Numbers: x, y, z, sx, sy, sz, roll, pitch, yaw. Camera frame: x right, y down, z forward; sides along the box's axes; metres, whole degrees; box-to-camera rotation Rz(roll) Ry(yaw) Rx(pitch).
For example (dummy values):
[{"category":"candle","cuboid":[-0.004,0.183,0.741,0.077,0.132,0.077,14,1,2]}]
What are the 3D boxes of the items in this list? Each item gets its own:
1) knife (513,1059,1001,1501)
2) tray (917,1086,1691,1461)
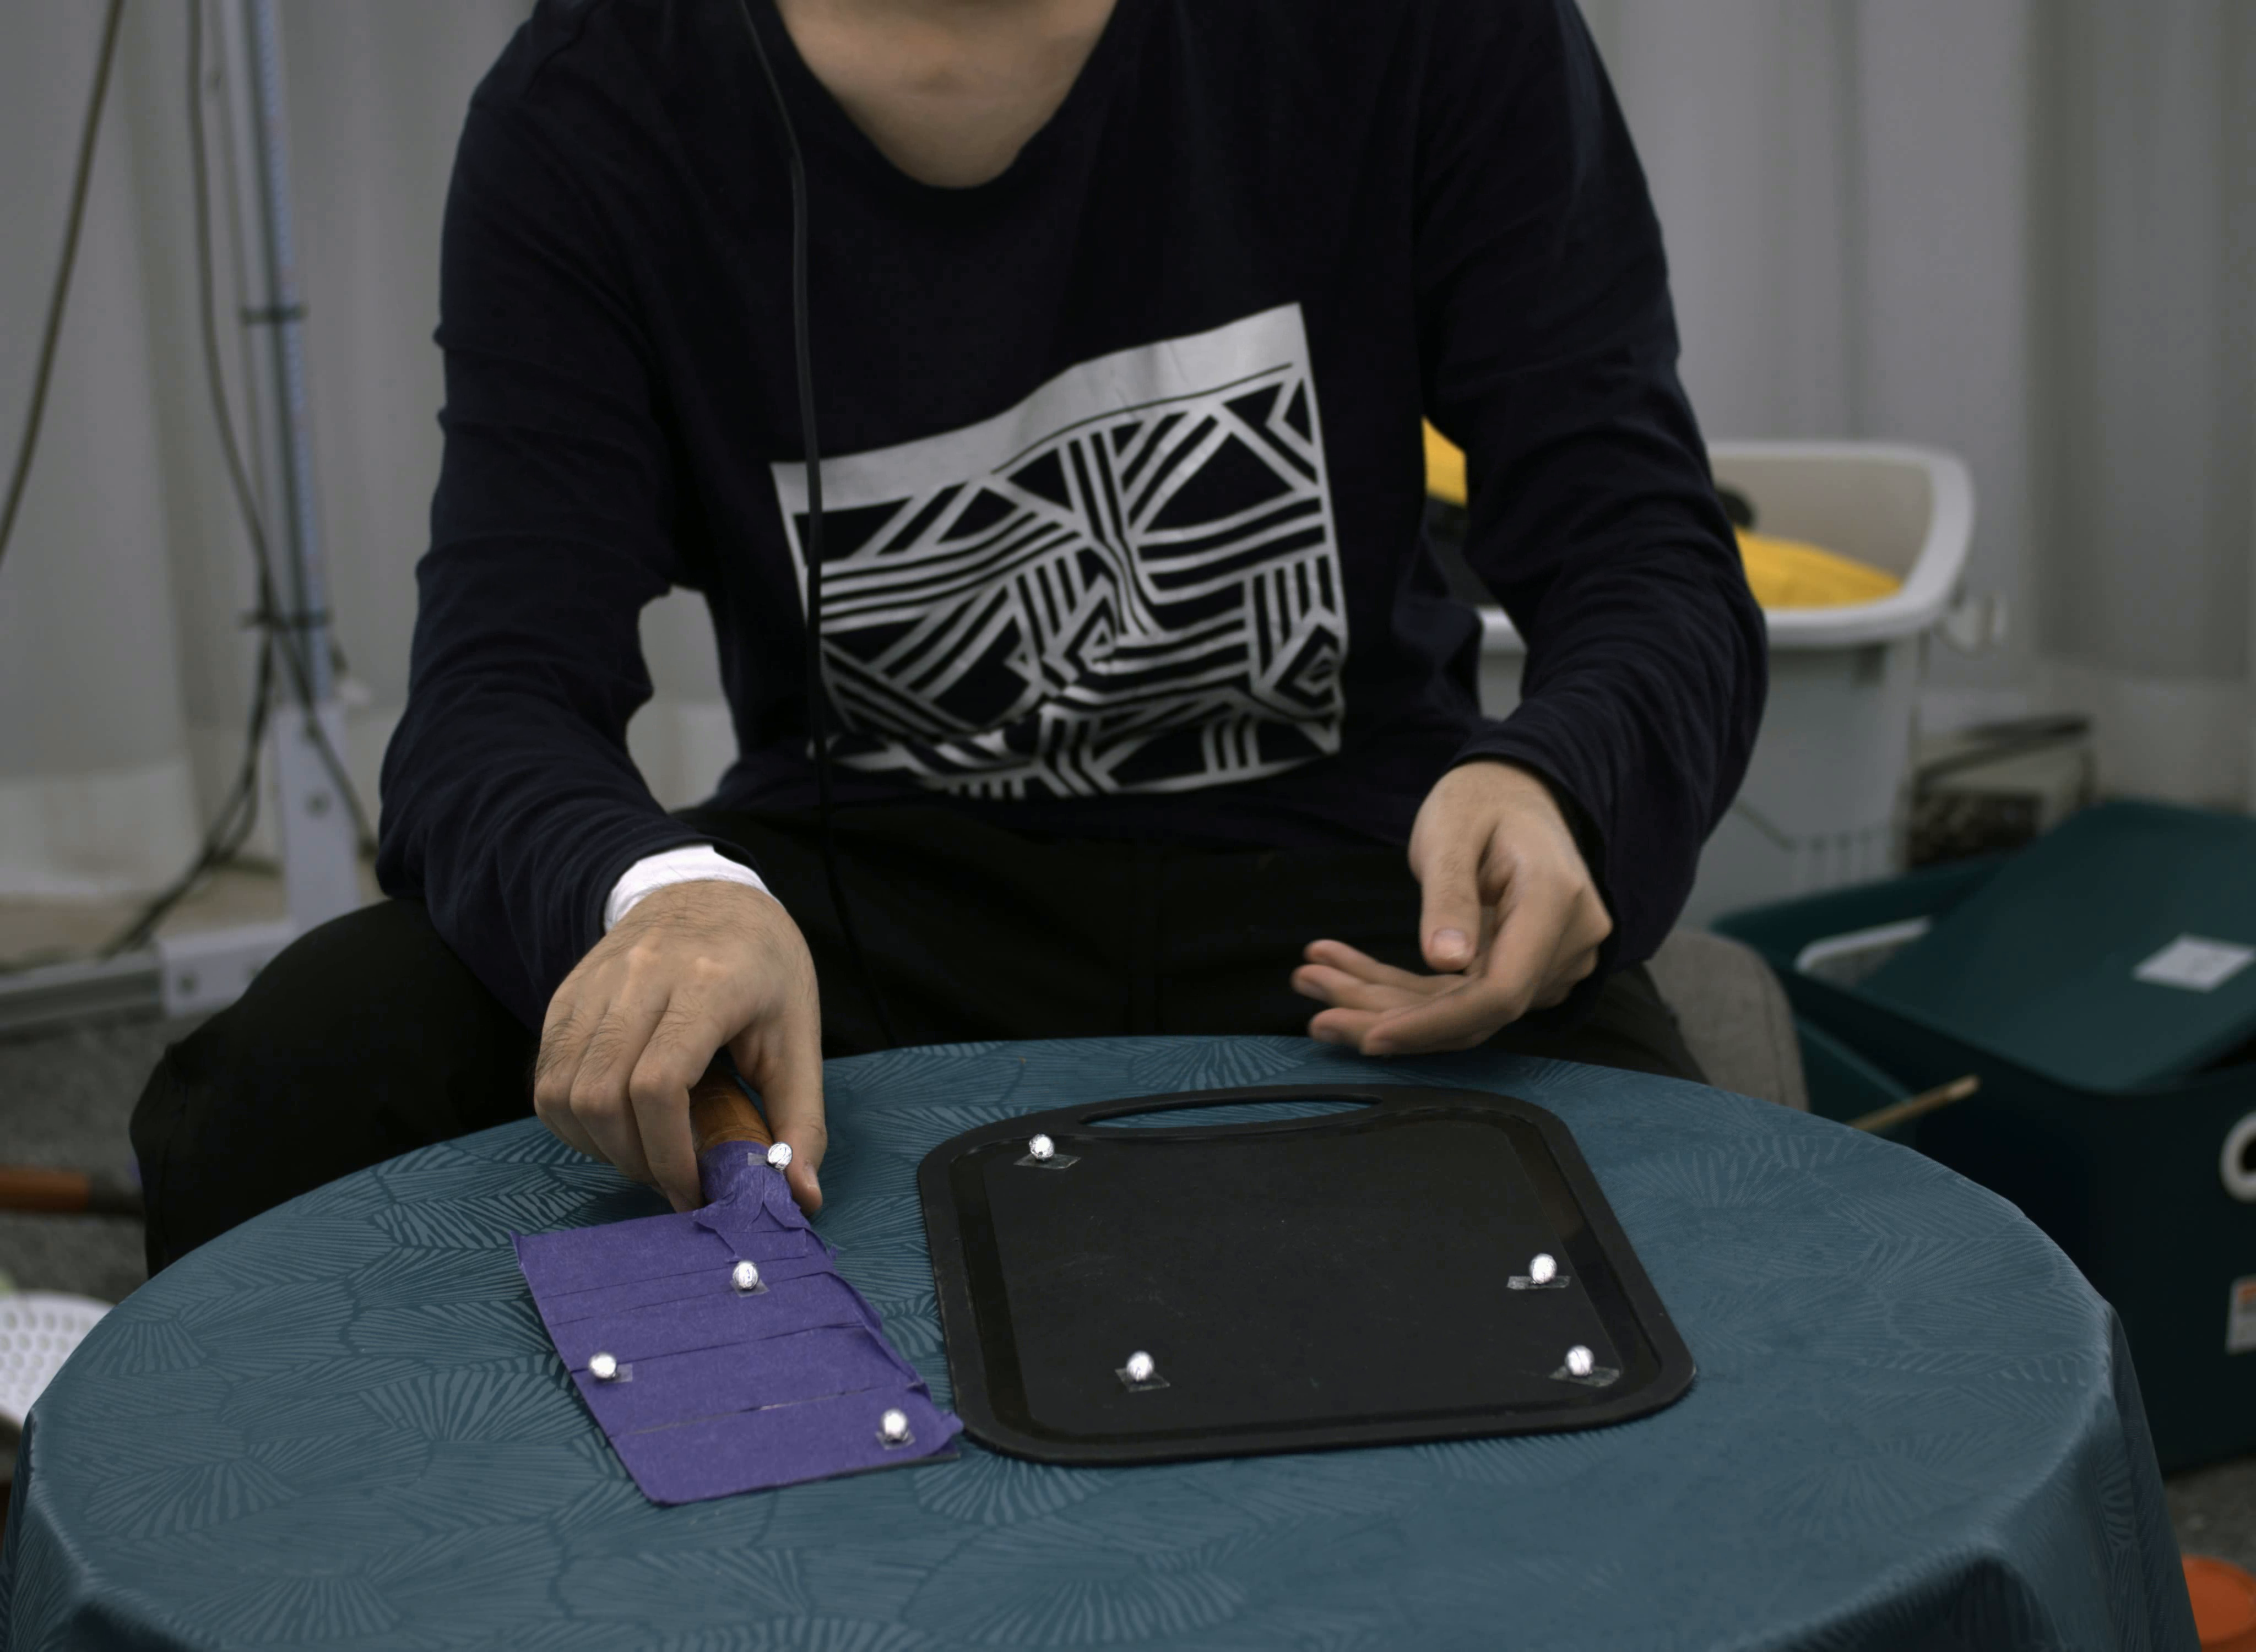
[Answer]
[{"category":"knife","cuboid":[-0.130,0.131,1.628,0.103,0.032,0.318,-7,16,-16]},{"category":"tray","cuboid":[0.044,0.127,1.648,0.210,0.010,0.328,-4,15,-4]}]
